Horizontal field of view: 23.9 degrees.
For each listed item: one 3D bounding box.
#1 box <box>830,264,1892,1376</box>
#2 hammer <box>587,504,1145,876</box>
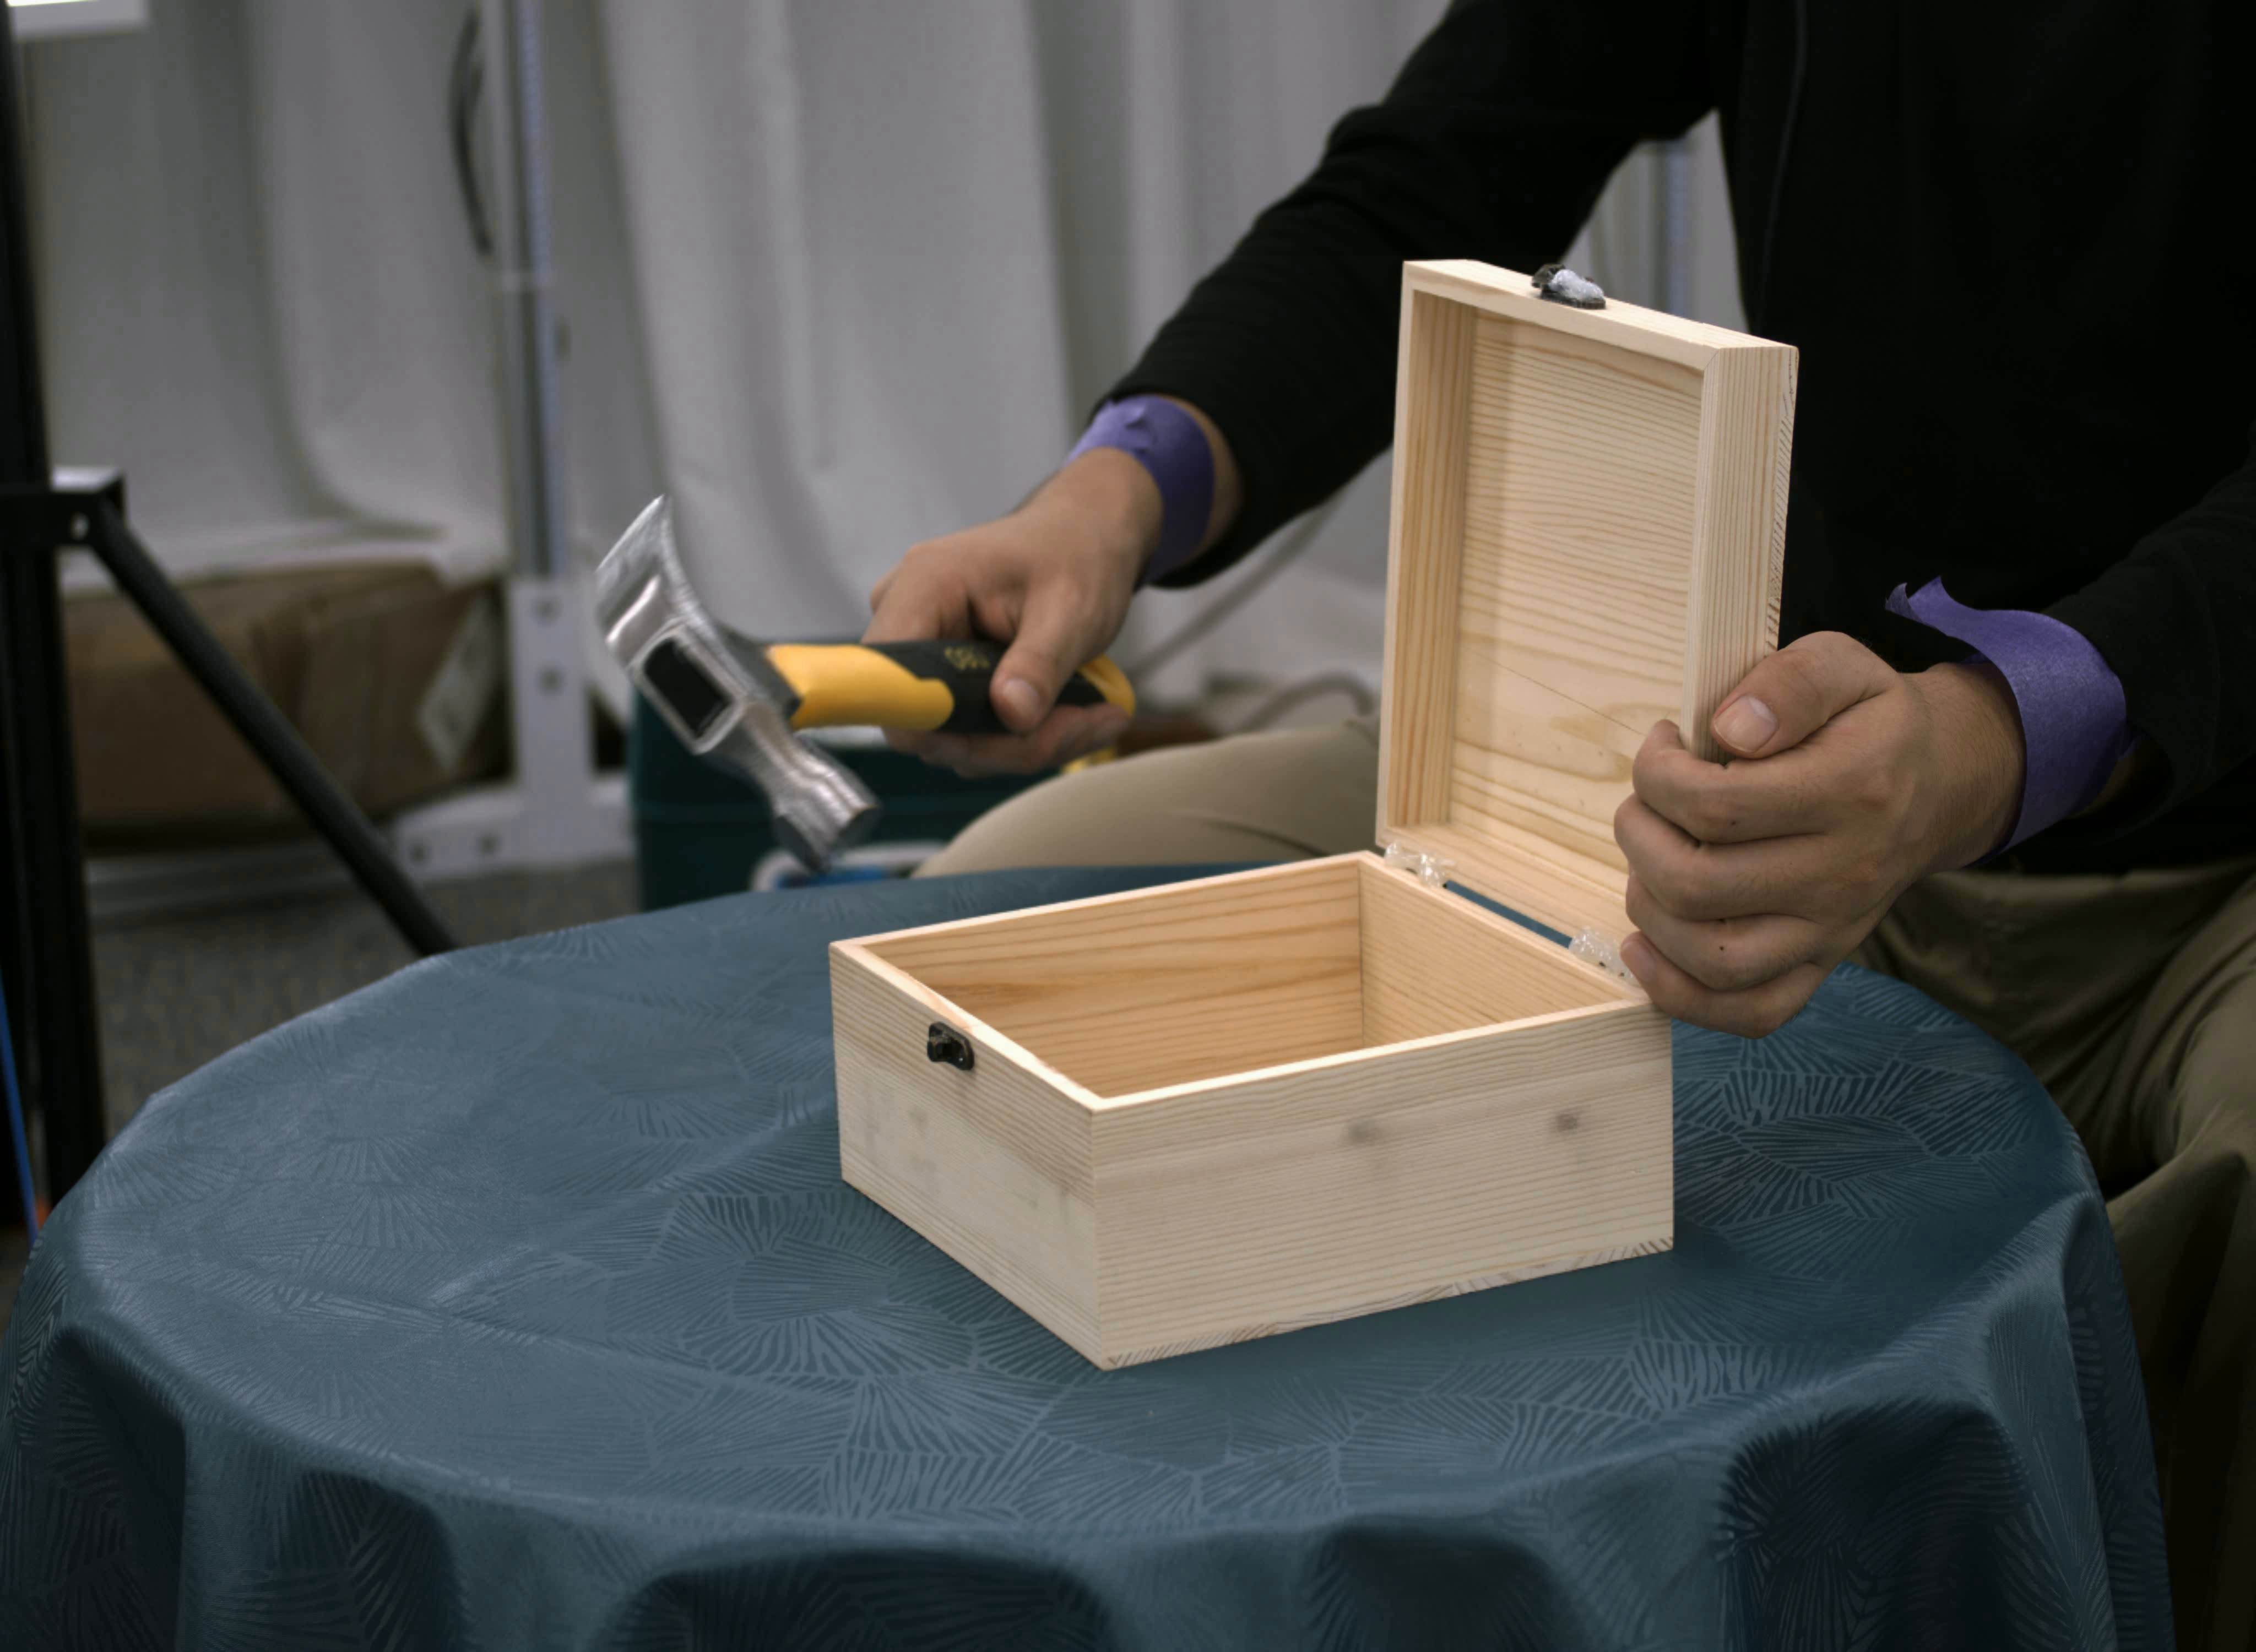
[{"bbox_3d":[0.060,-0.012,1.512,0.260,0.253,0.185,-10,15,-23],"label":"box"},{"bbox_3d":[-0.071,-0.044,1.734,0.133,0.032,0.332,47,17,16],"label":"hammer"}]
